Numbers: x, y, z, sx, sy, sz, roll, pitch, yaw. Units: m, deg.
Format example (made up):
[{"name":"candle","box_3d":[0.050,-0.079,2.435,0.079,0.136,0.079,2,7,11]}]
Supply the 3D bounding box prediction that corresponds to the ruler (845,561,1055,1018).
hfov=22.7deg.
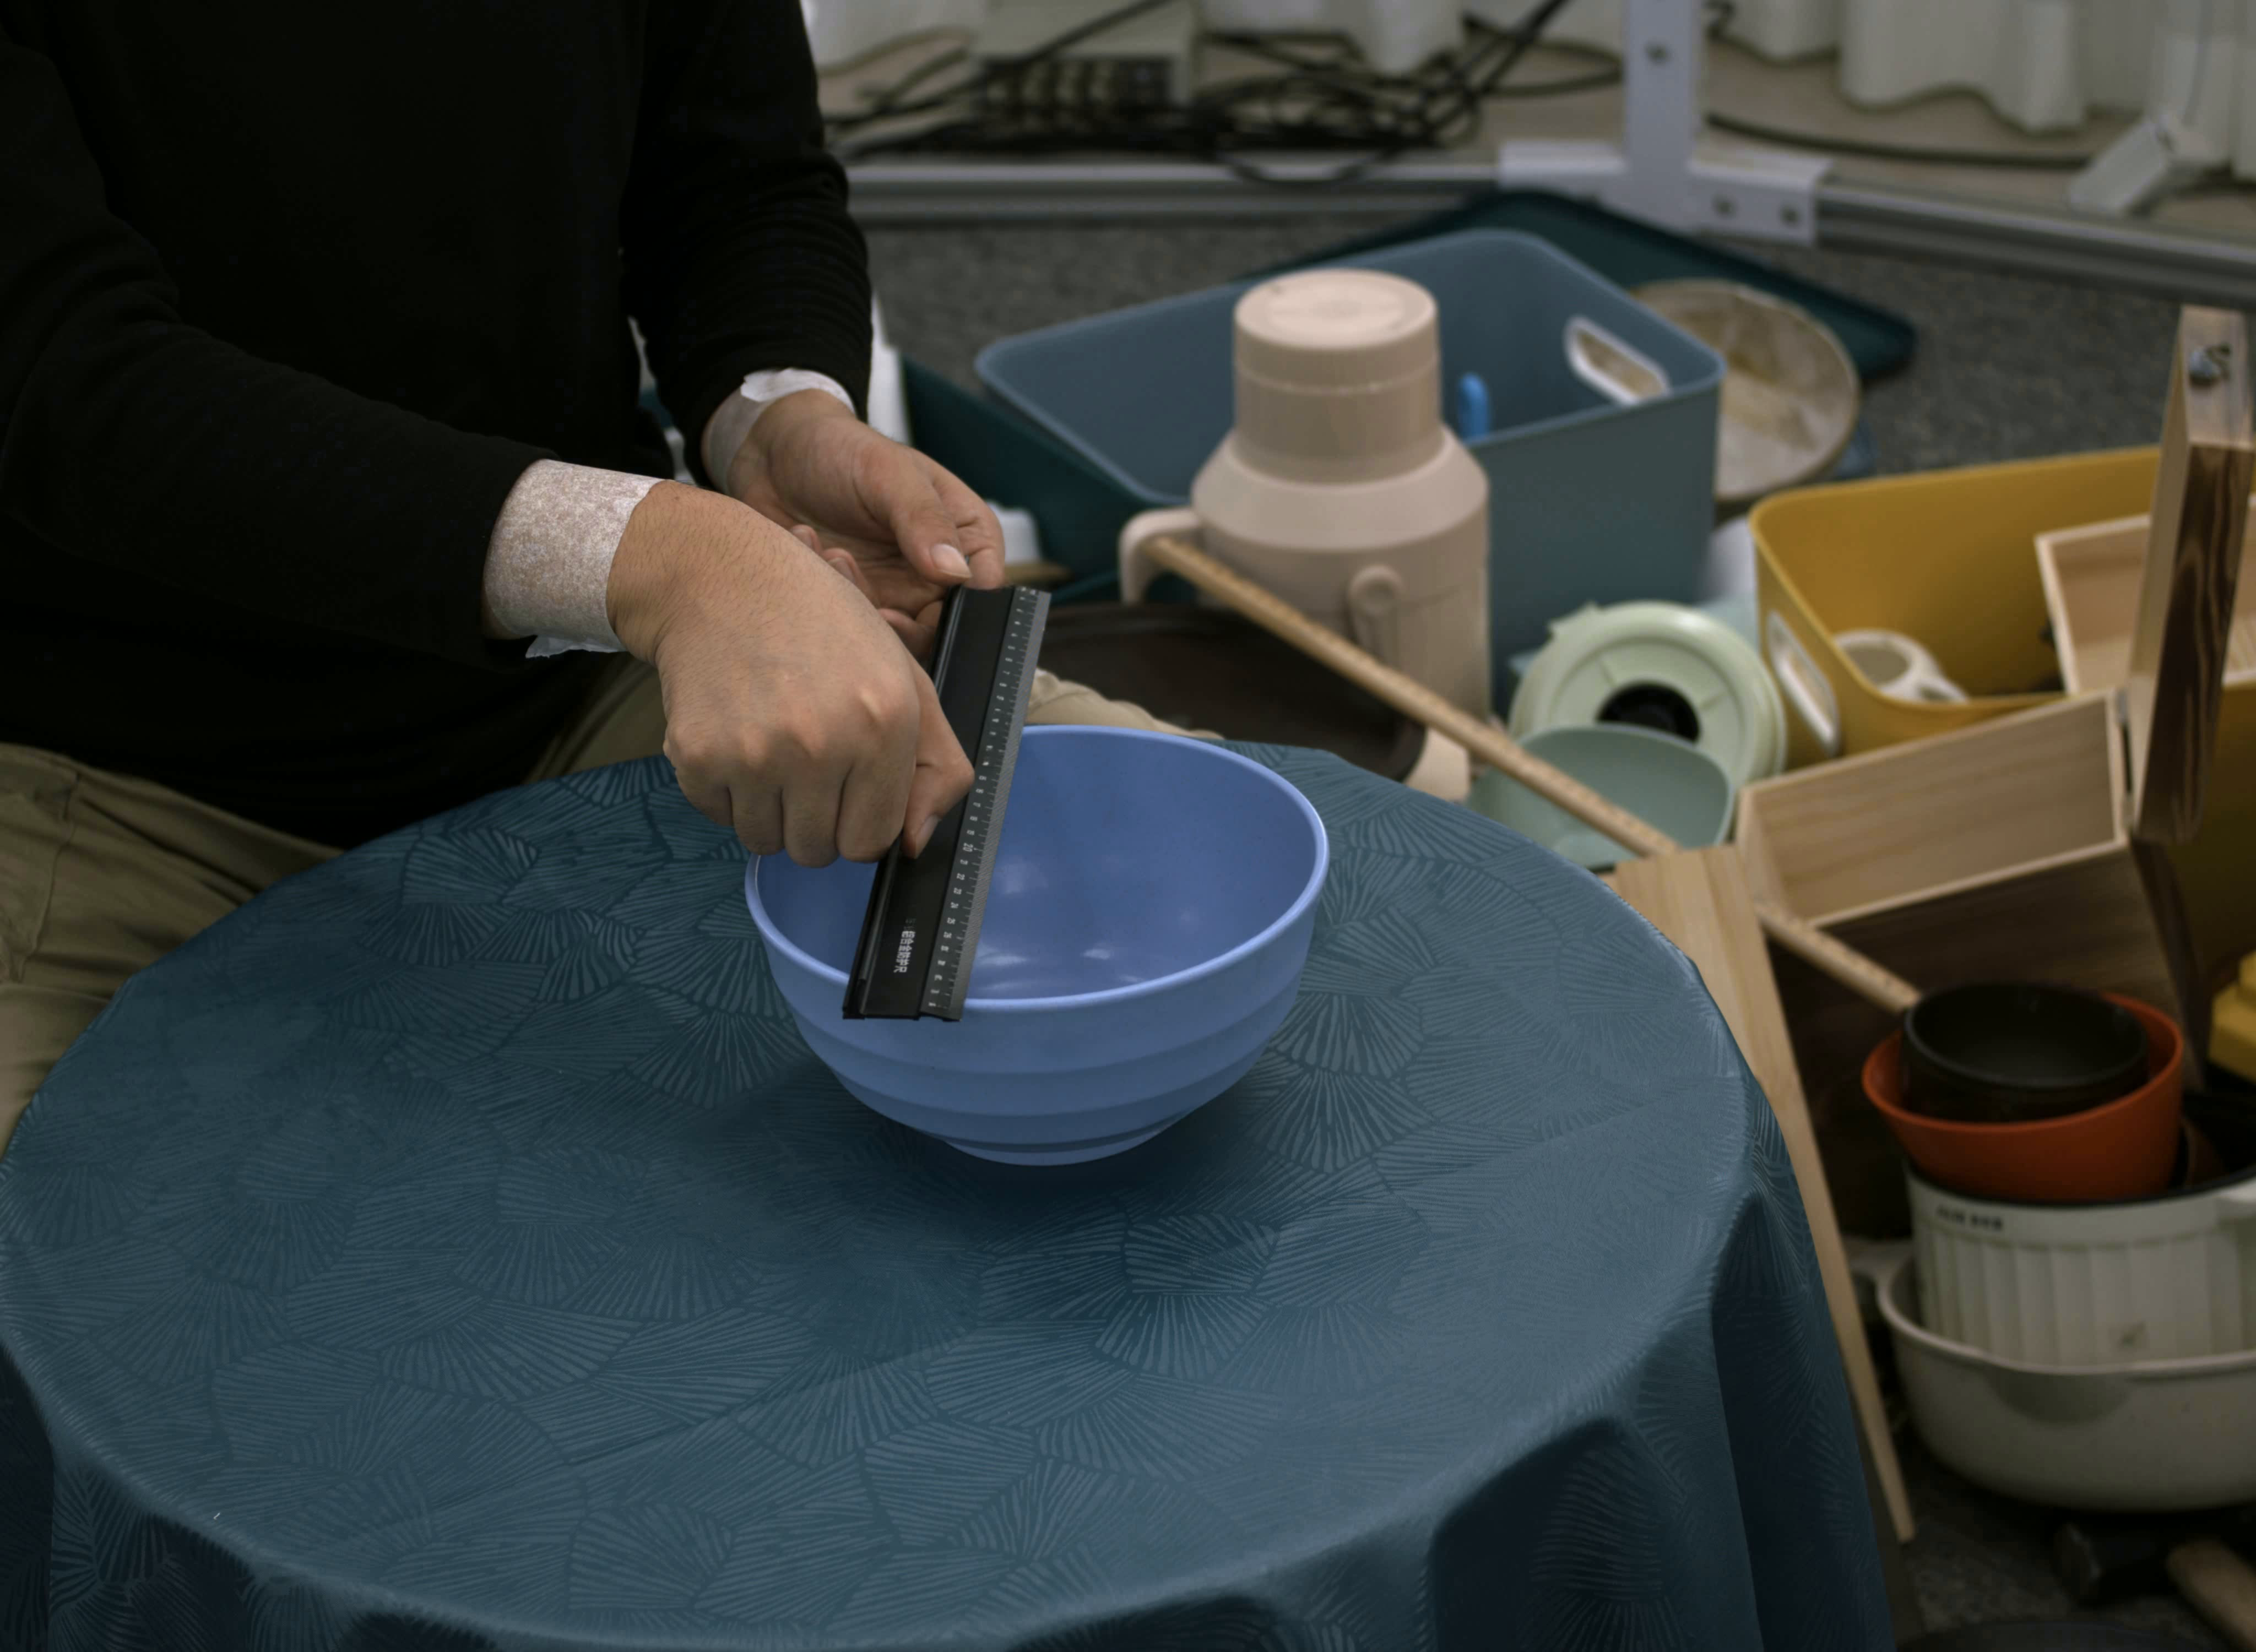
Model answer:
[{"name":"ruler","box_3d":[-0.058,-0.018,1.918,0.039,0.017,0.317,6,28,3]}]

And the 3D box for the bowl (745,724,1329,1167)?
[{"name":"bowl","box_3d":[-0.028,0.052,1.897,0.195,0.094,0.199,-2,27,1]}]
